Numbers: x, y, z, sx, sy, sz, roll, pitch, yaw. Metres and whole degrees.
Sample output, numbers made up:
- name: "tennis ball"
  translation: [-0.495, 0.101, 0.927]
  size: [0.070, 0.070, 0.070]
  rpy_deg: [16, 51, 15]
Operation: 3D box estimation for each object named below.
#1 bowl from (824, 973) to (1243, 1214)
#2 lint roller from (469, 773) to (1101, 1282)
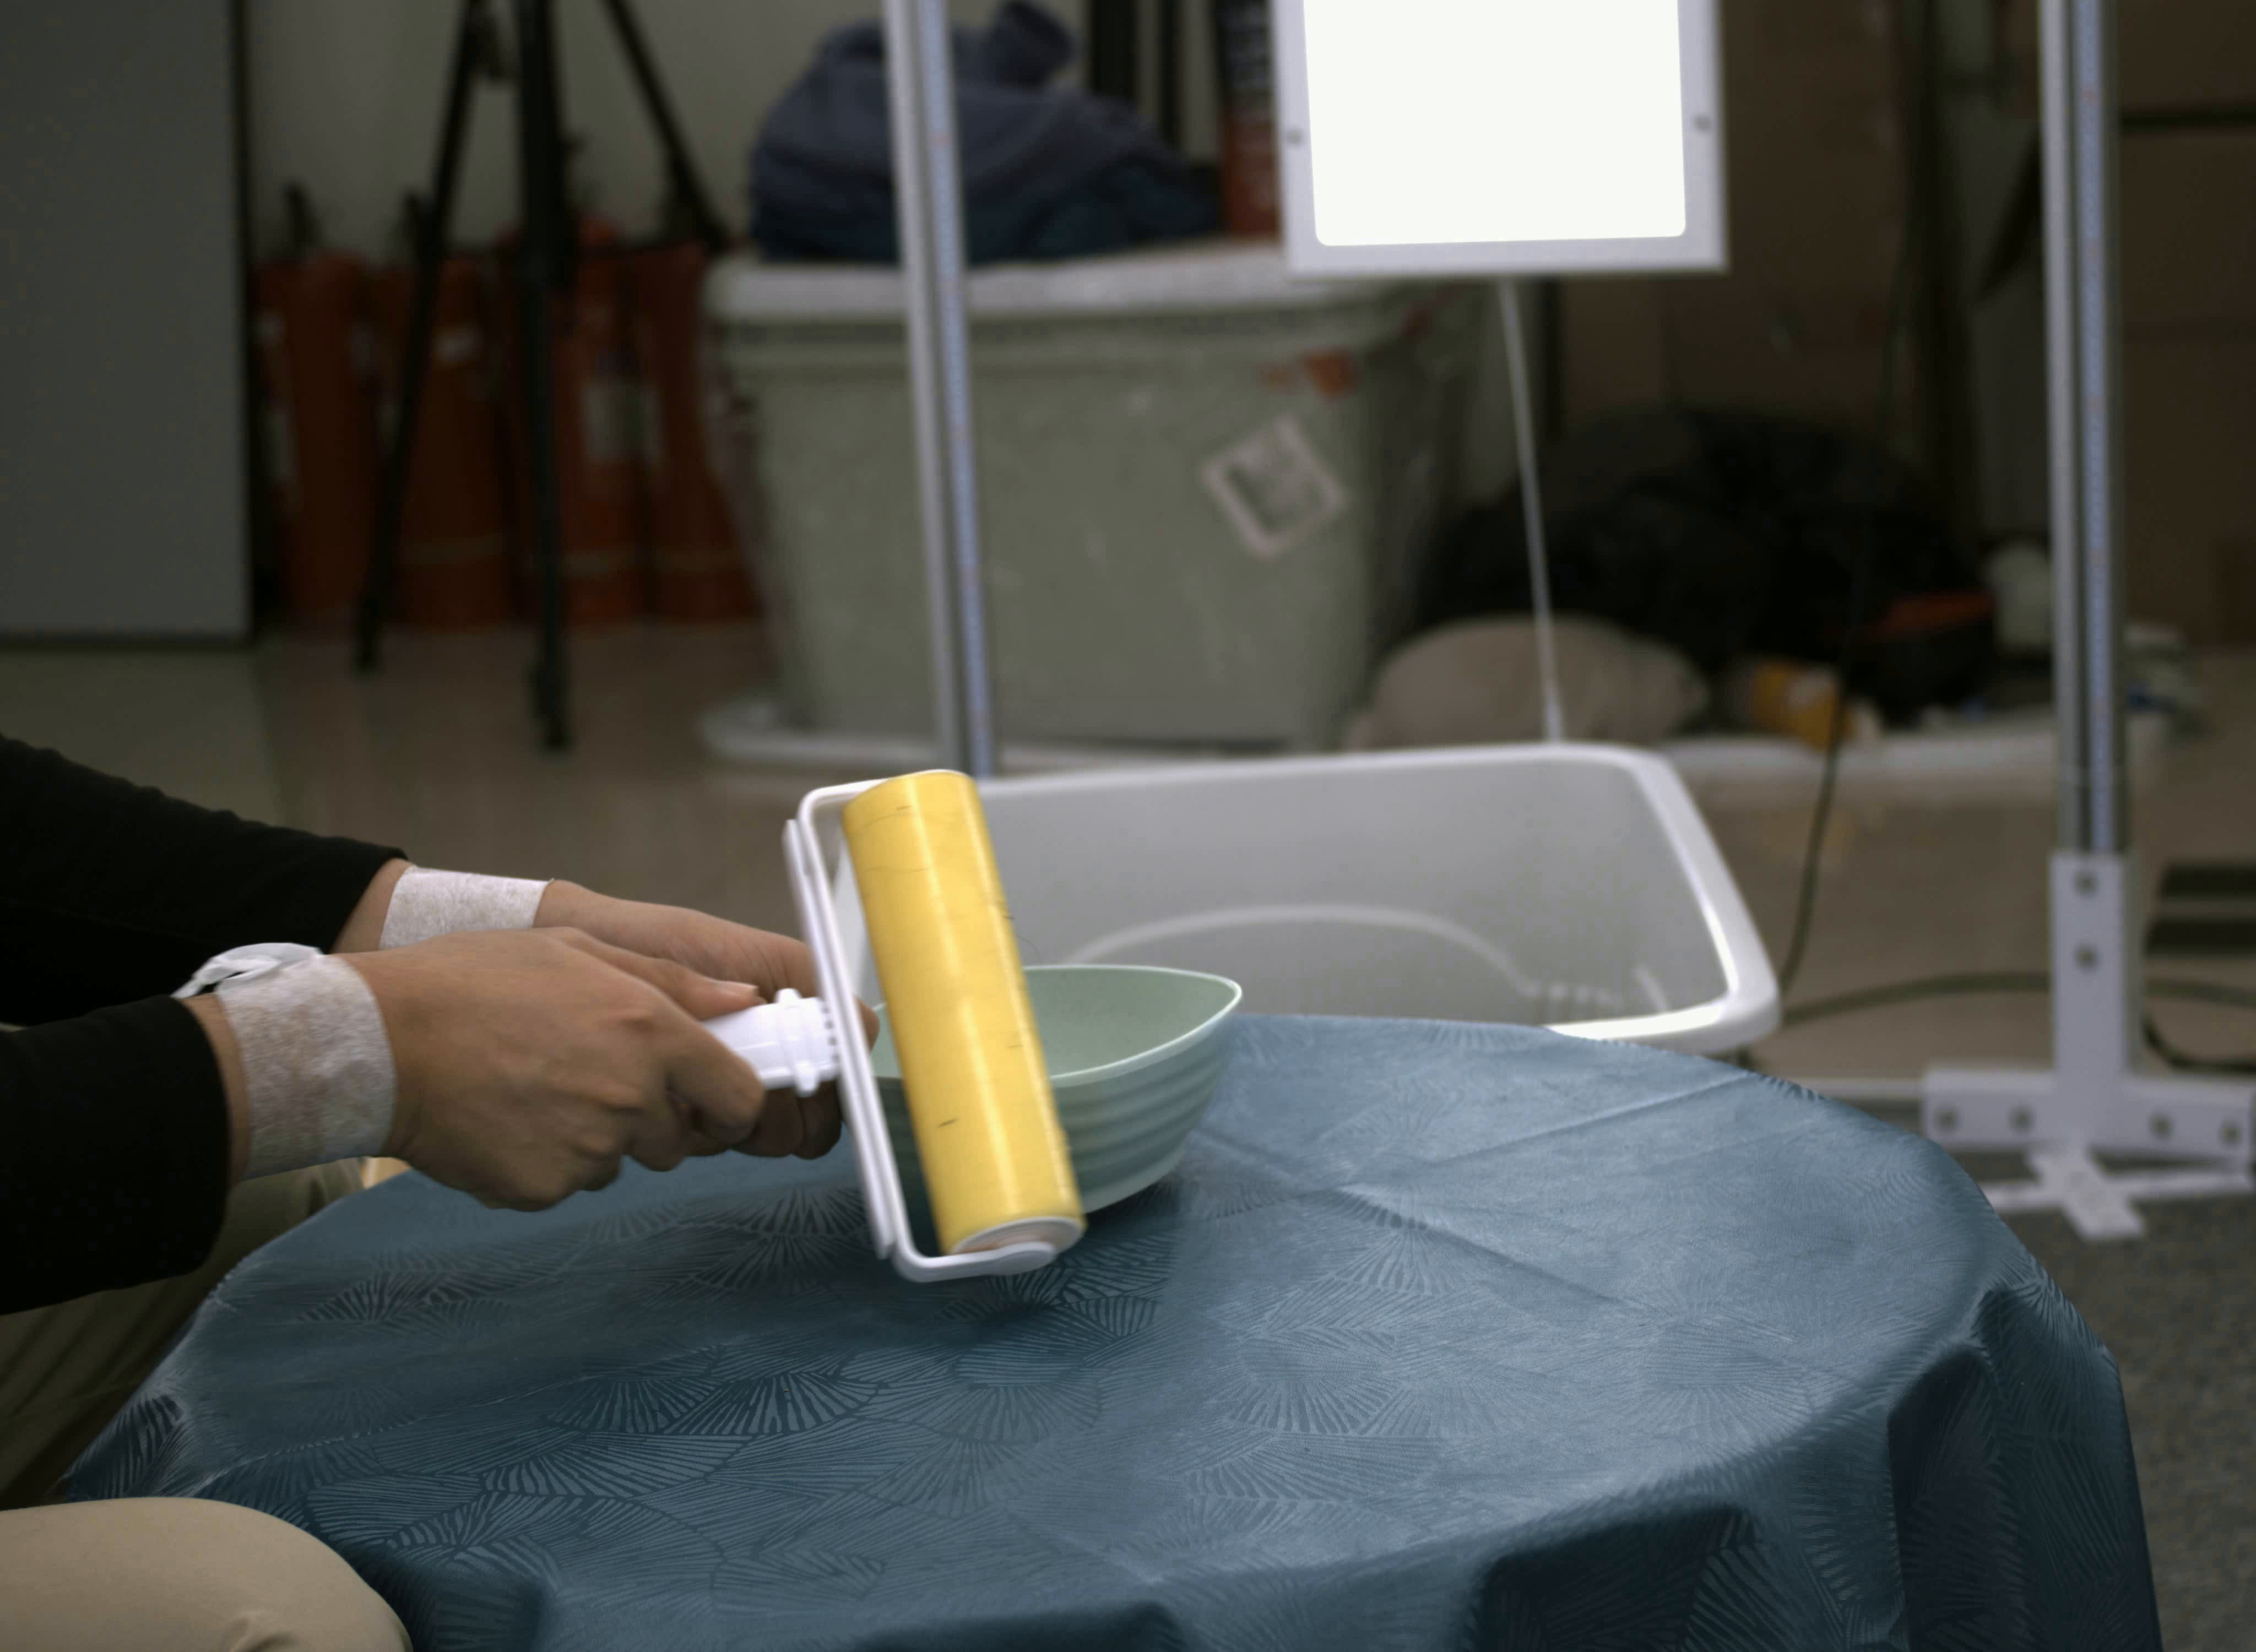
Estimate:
- name: "bowl"
  translation: [-0.032, 0.095, 1.893]
  size: [0.151, 0.059, 0.151]
  rpy_deg: [-6, 12, 0]
- name: "lint roller"
  translation: [-0.117, 0.071, 1.780]
  size: [0.188, 0.175, 0.052]
  rpy_deg: [-5, -25, -25]
